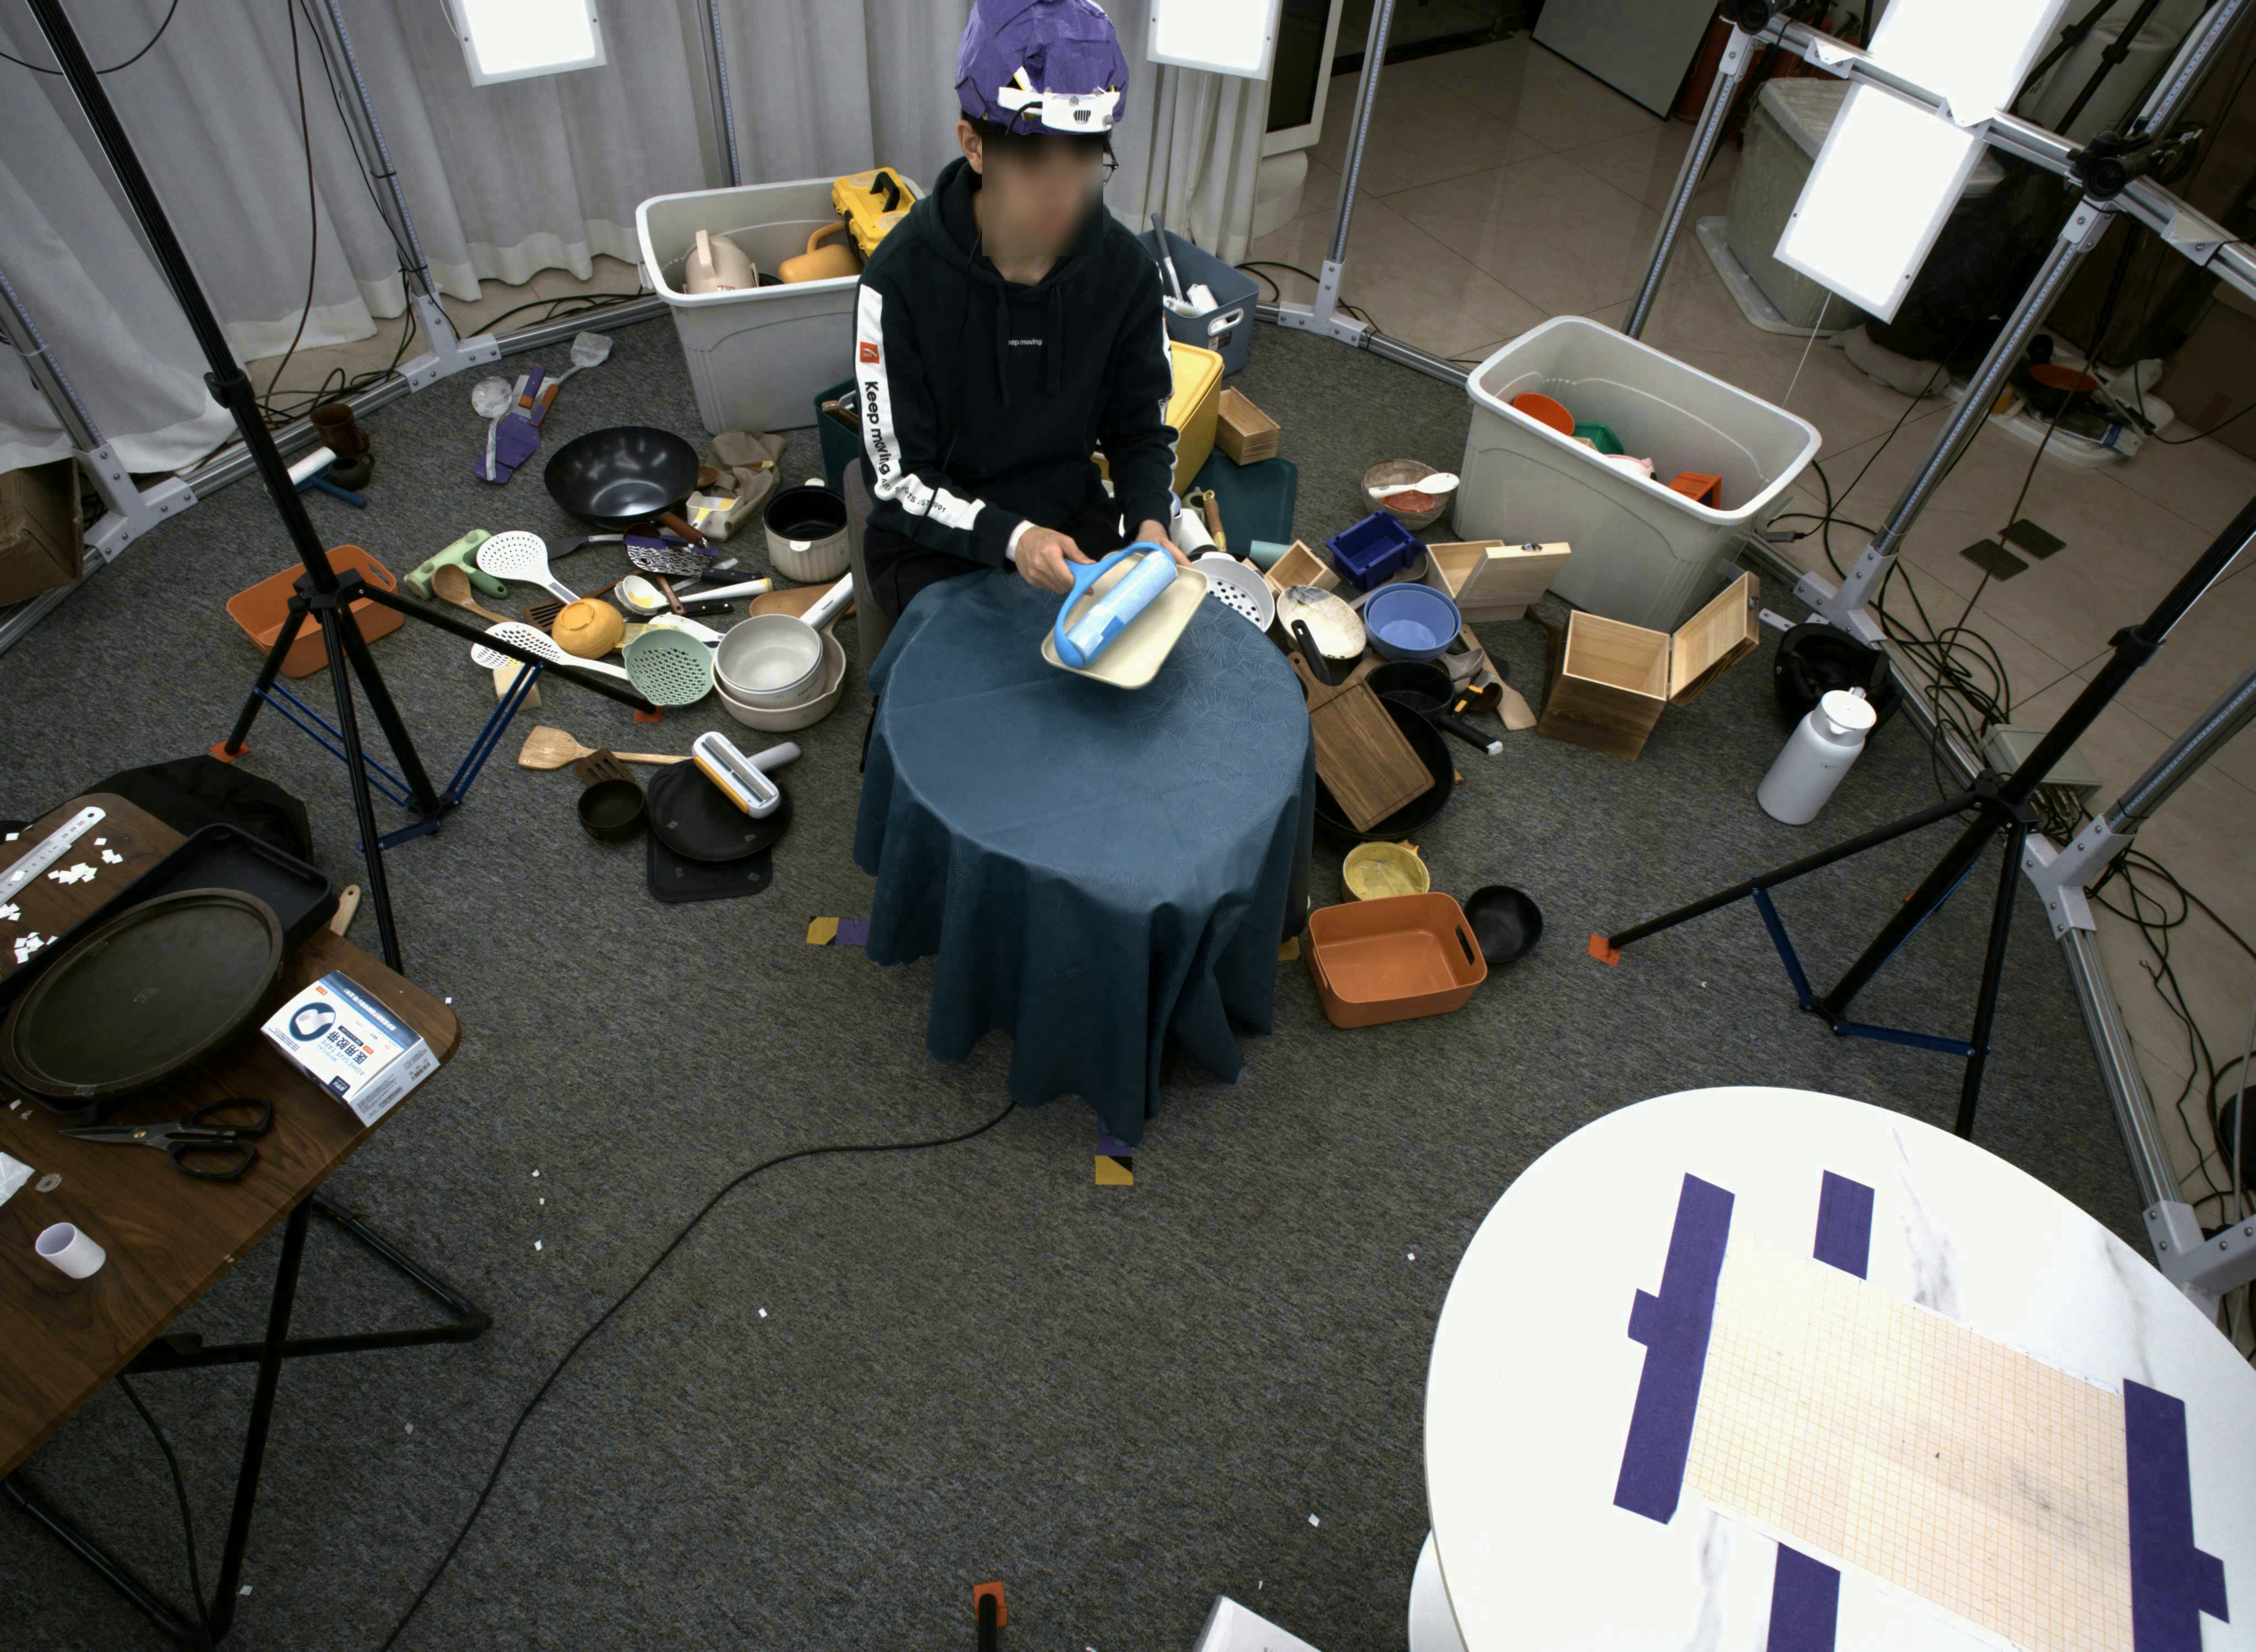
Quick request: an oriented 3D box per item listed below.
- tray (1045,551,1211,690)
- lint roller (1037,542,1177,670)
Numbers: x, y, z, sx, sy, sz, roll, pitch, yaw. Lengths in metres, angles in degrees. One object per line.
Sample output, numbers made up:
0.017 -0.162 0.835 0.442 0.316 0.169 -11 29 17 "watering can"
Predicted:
0.003 -0.292 1.818 0.172 0.017 0.243 19 58 20 "tray"
-0.059 -0.332 1.799 0.182 0.066 0.231 33 69 18 "lint roller"
